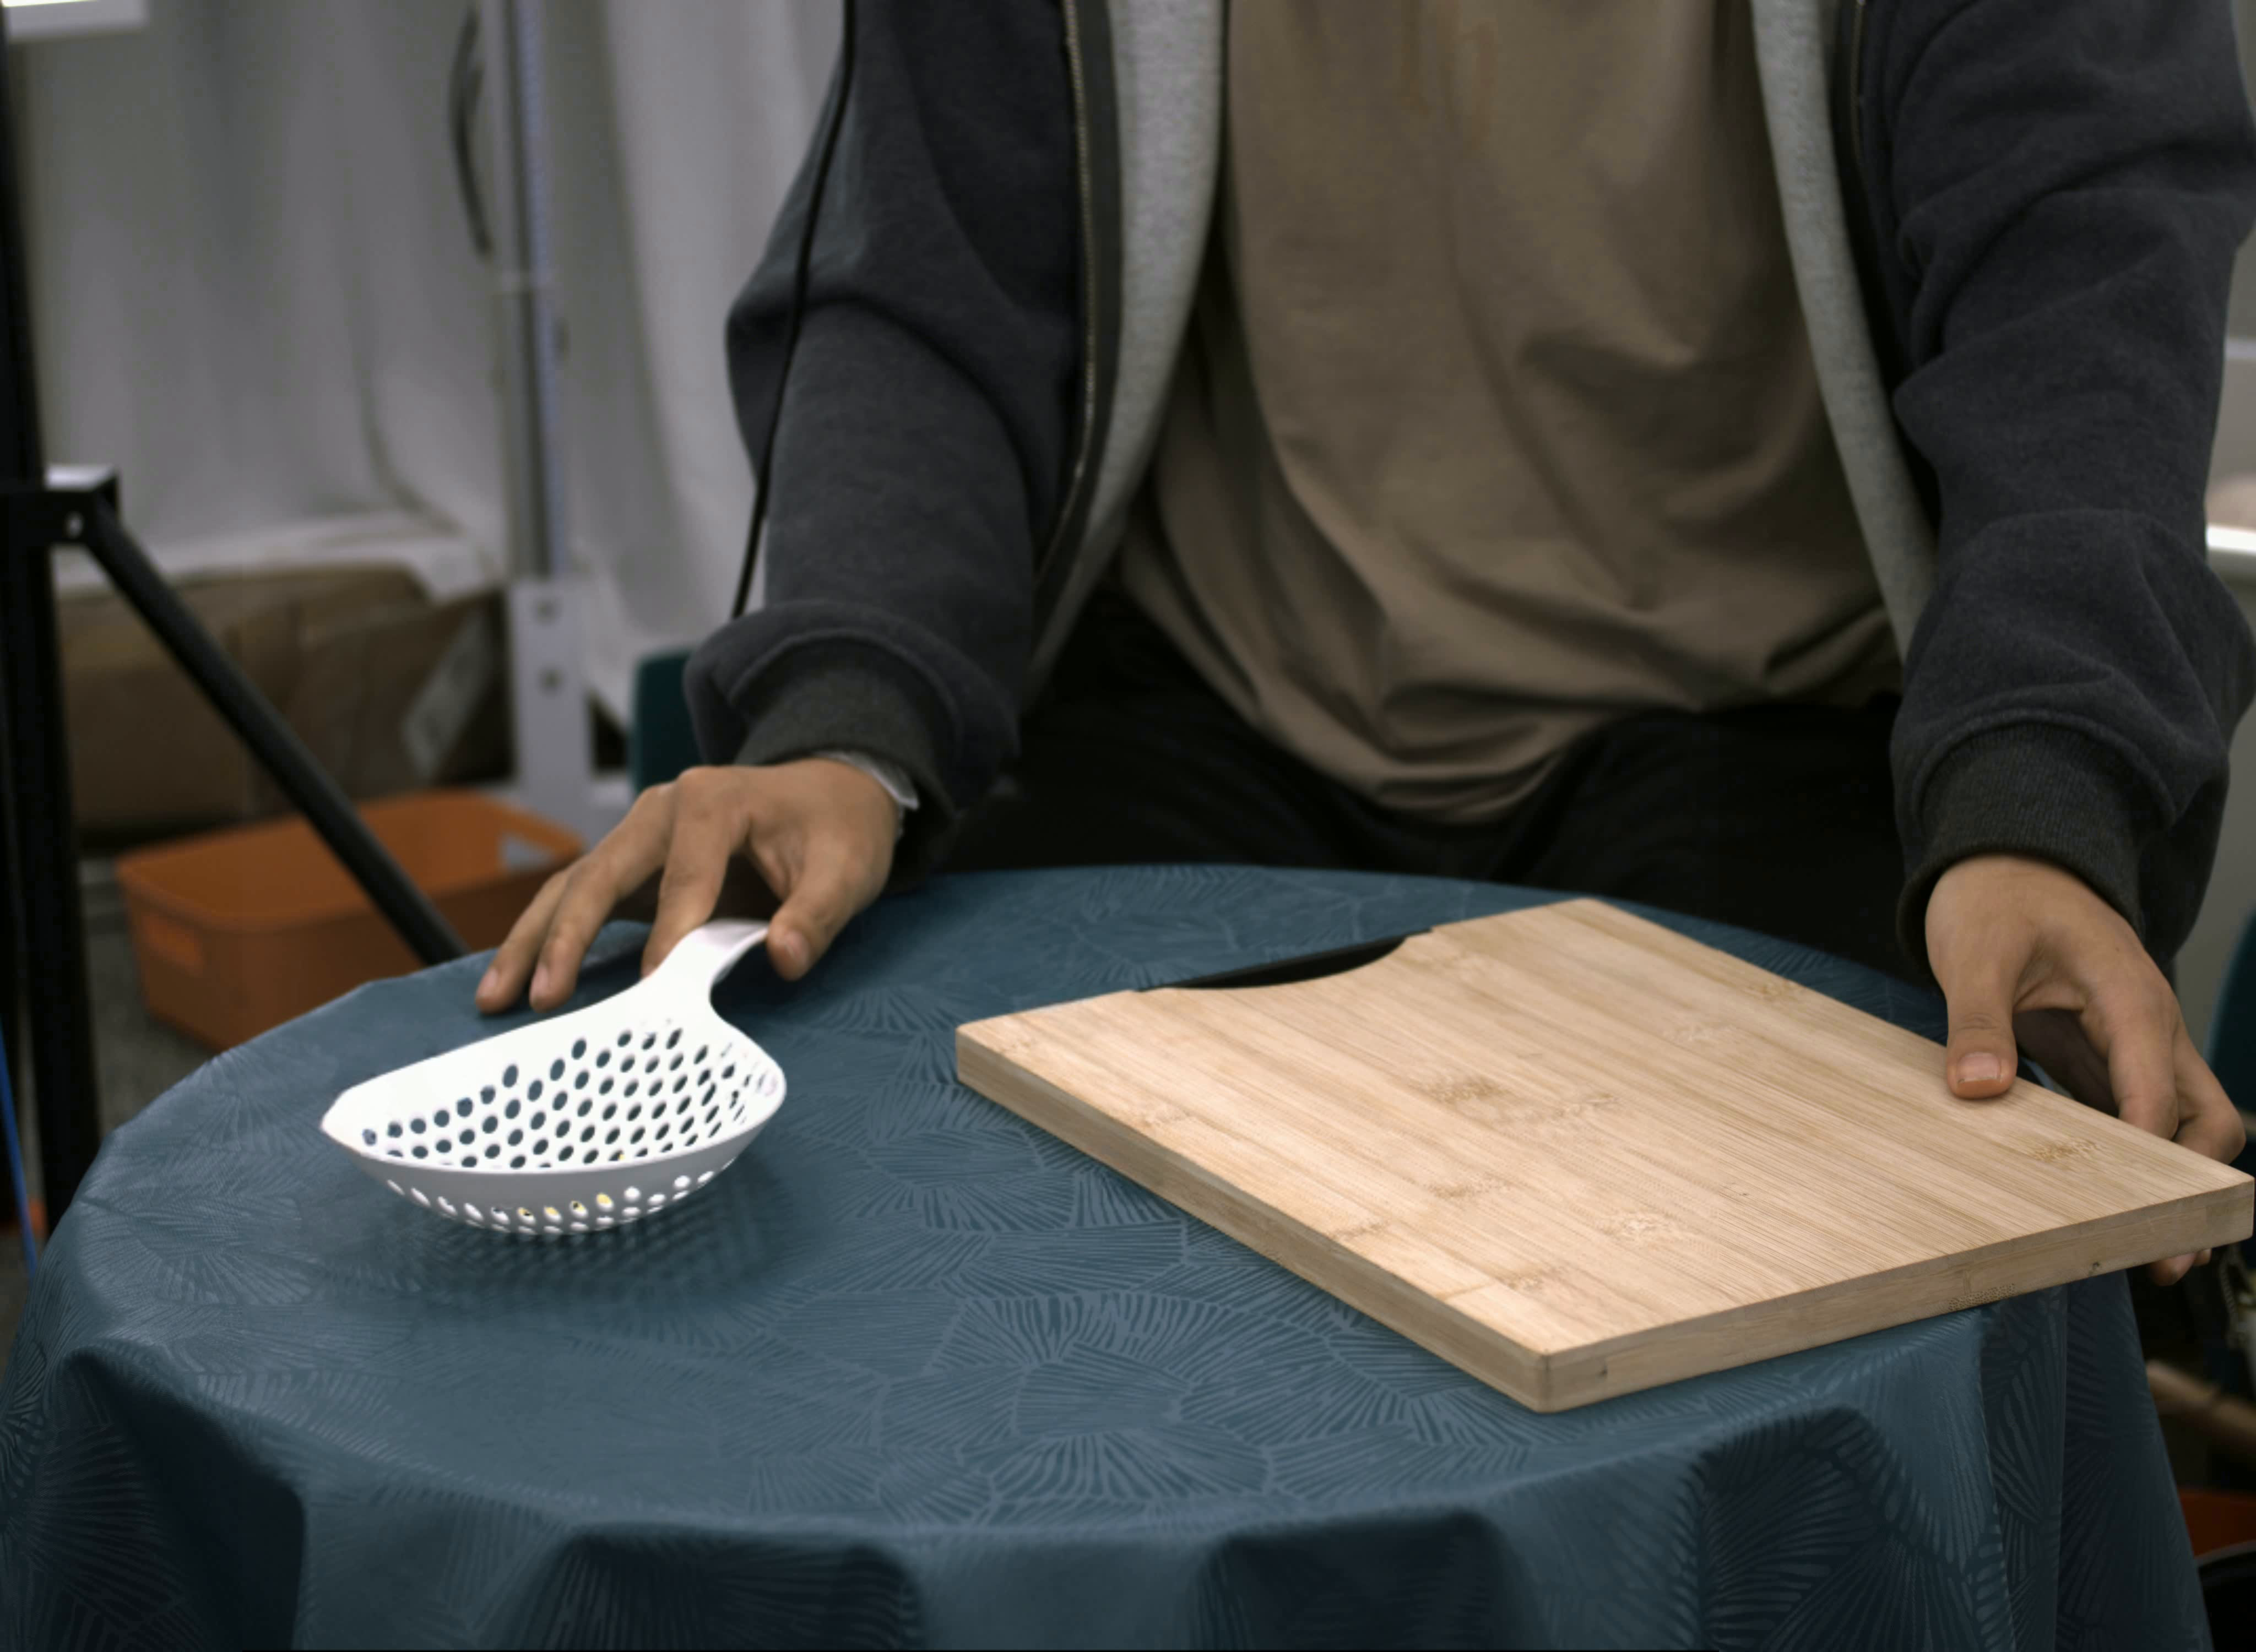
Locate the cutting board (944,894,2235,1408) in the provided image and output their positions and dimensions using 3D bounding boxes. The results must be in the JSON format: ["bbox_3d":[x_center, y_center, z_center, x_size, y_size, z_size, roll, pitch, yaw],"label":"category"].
[{"bbox_3d":[0.129,0.089,1.575,0.245,0.023,0.356,-11,18,-27],"label":"cutting board"}]

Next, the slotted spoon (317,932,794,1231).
[{"bbox_3d":[-0.148,0.066,1.659,0.137,0.050,0.346,-2,16,10],"label":"slotted spoon"}]
